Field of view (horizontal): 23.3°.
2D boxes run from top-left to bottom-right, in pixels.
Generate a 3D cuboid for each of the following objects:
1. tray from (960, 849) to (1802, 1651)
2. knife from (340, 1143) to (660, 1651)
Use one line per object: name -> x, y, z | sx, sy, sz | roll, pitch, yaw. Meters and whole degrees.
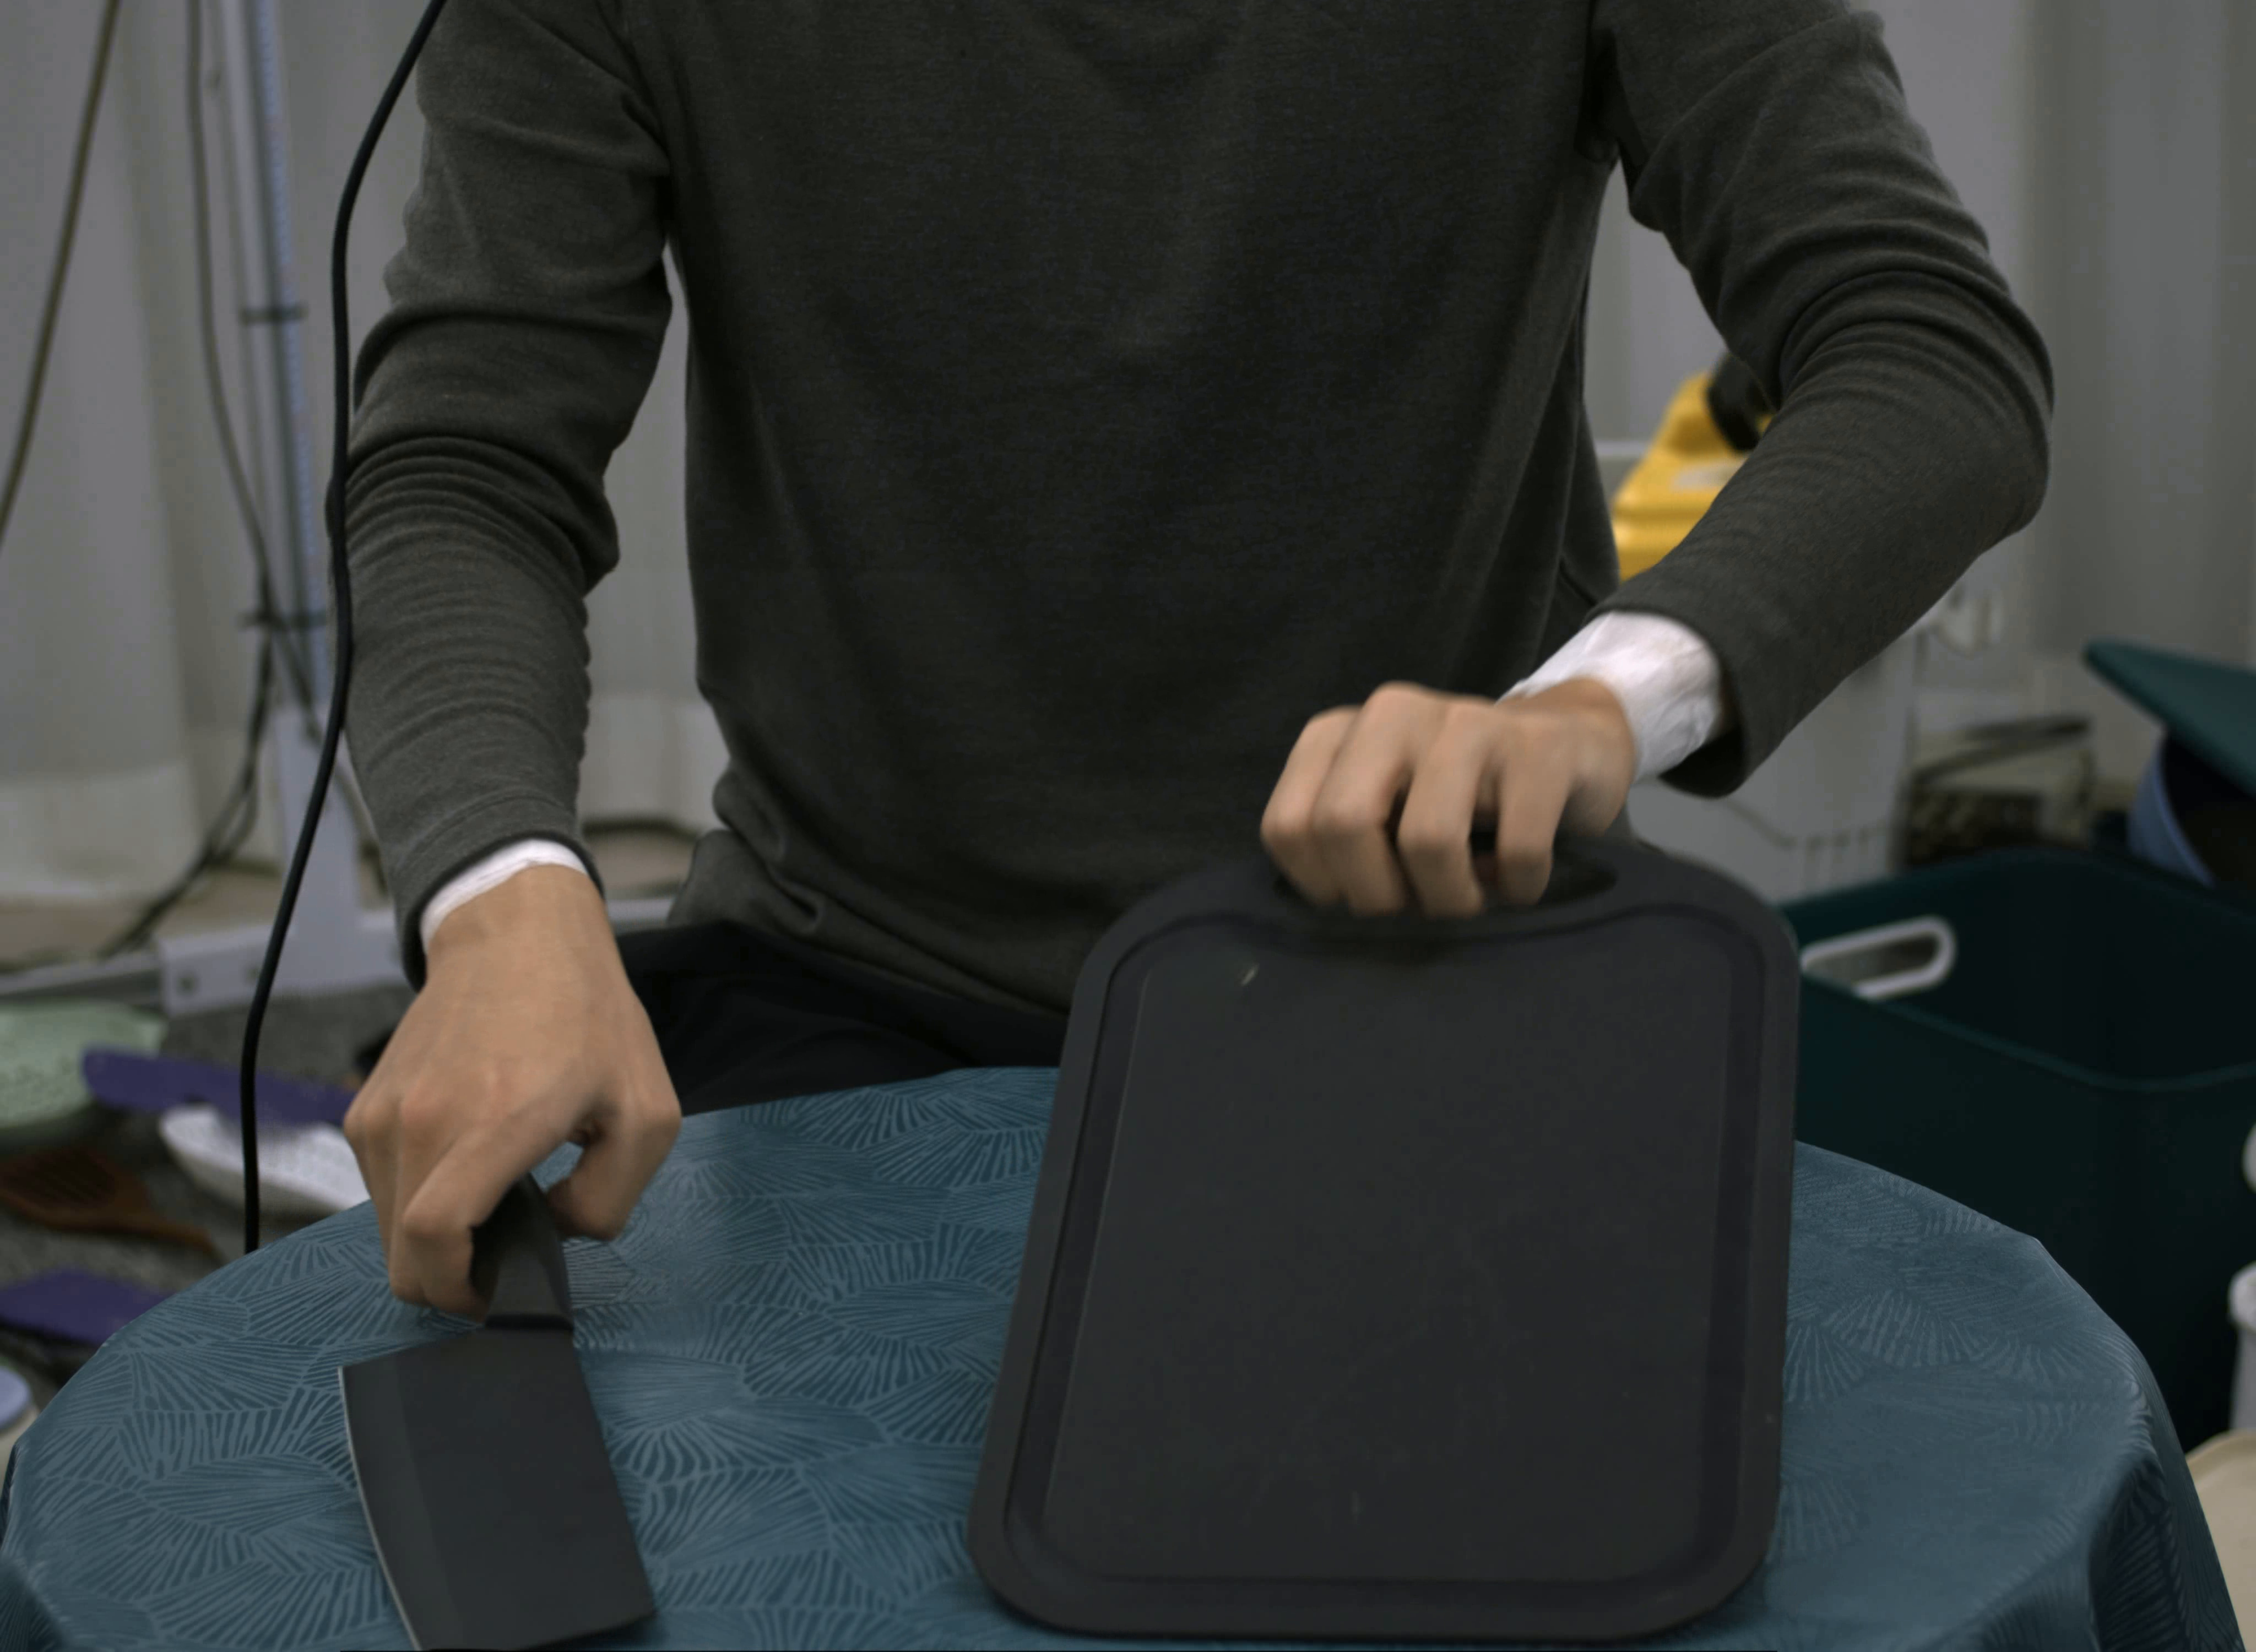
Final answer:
tray -> 0.074, 0.105, 1.489 | 0.211, 0.009, 0.330 | 0, 37, 10
knife -> -0.179, 0.156, 1.518 | 0.080, 0.021, 0.305 | -10, 22, -6
